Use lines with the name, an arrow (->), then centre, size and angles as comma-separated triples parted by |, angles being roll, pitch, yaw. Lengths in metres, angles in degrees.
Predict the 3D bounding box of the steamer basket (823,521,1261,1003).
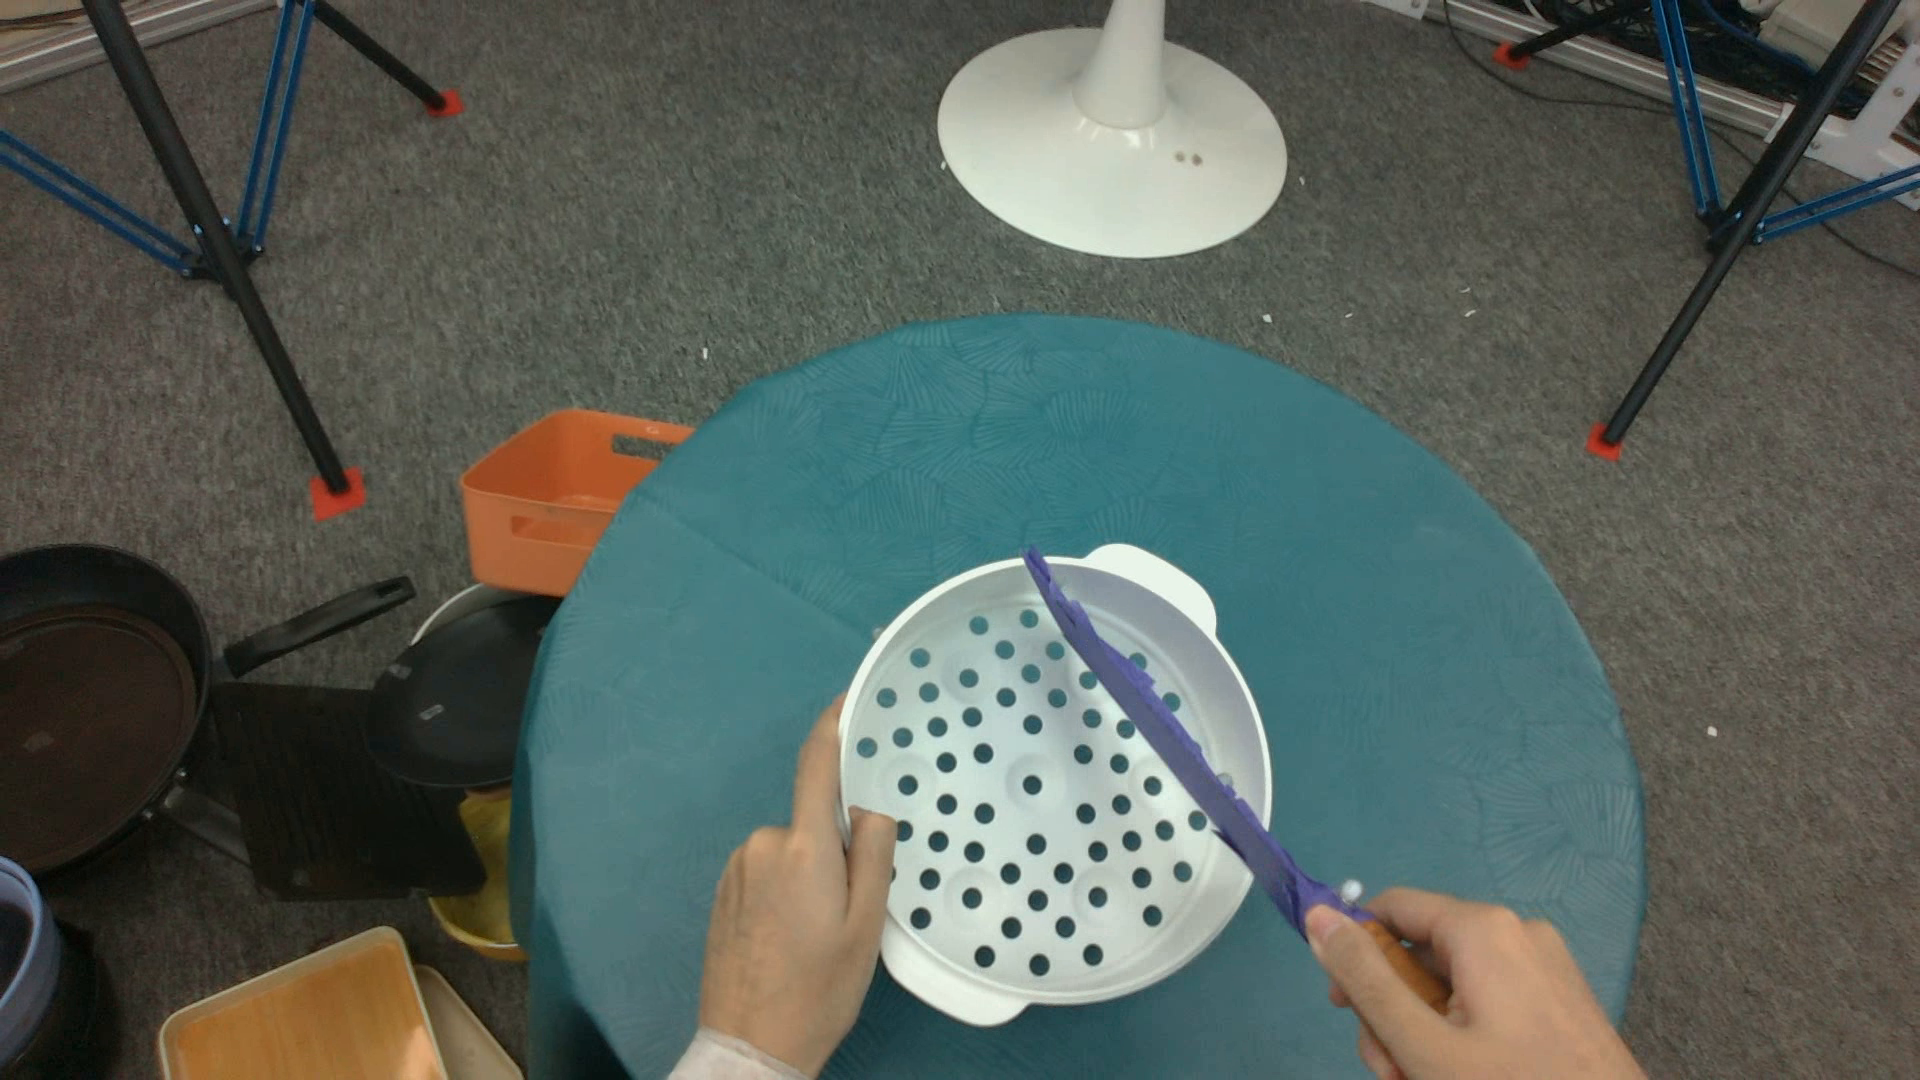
steamer basket -> 0.036, 0.102, 0.651 | 0.202, 0.069, 0.231 | 30, 73, 2

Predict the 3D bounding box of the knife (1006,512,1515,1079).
knife -> 0.113, 0.111, 0.566 | 0.032, 0.103, 0.316 | -34, 54, -3
